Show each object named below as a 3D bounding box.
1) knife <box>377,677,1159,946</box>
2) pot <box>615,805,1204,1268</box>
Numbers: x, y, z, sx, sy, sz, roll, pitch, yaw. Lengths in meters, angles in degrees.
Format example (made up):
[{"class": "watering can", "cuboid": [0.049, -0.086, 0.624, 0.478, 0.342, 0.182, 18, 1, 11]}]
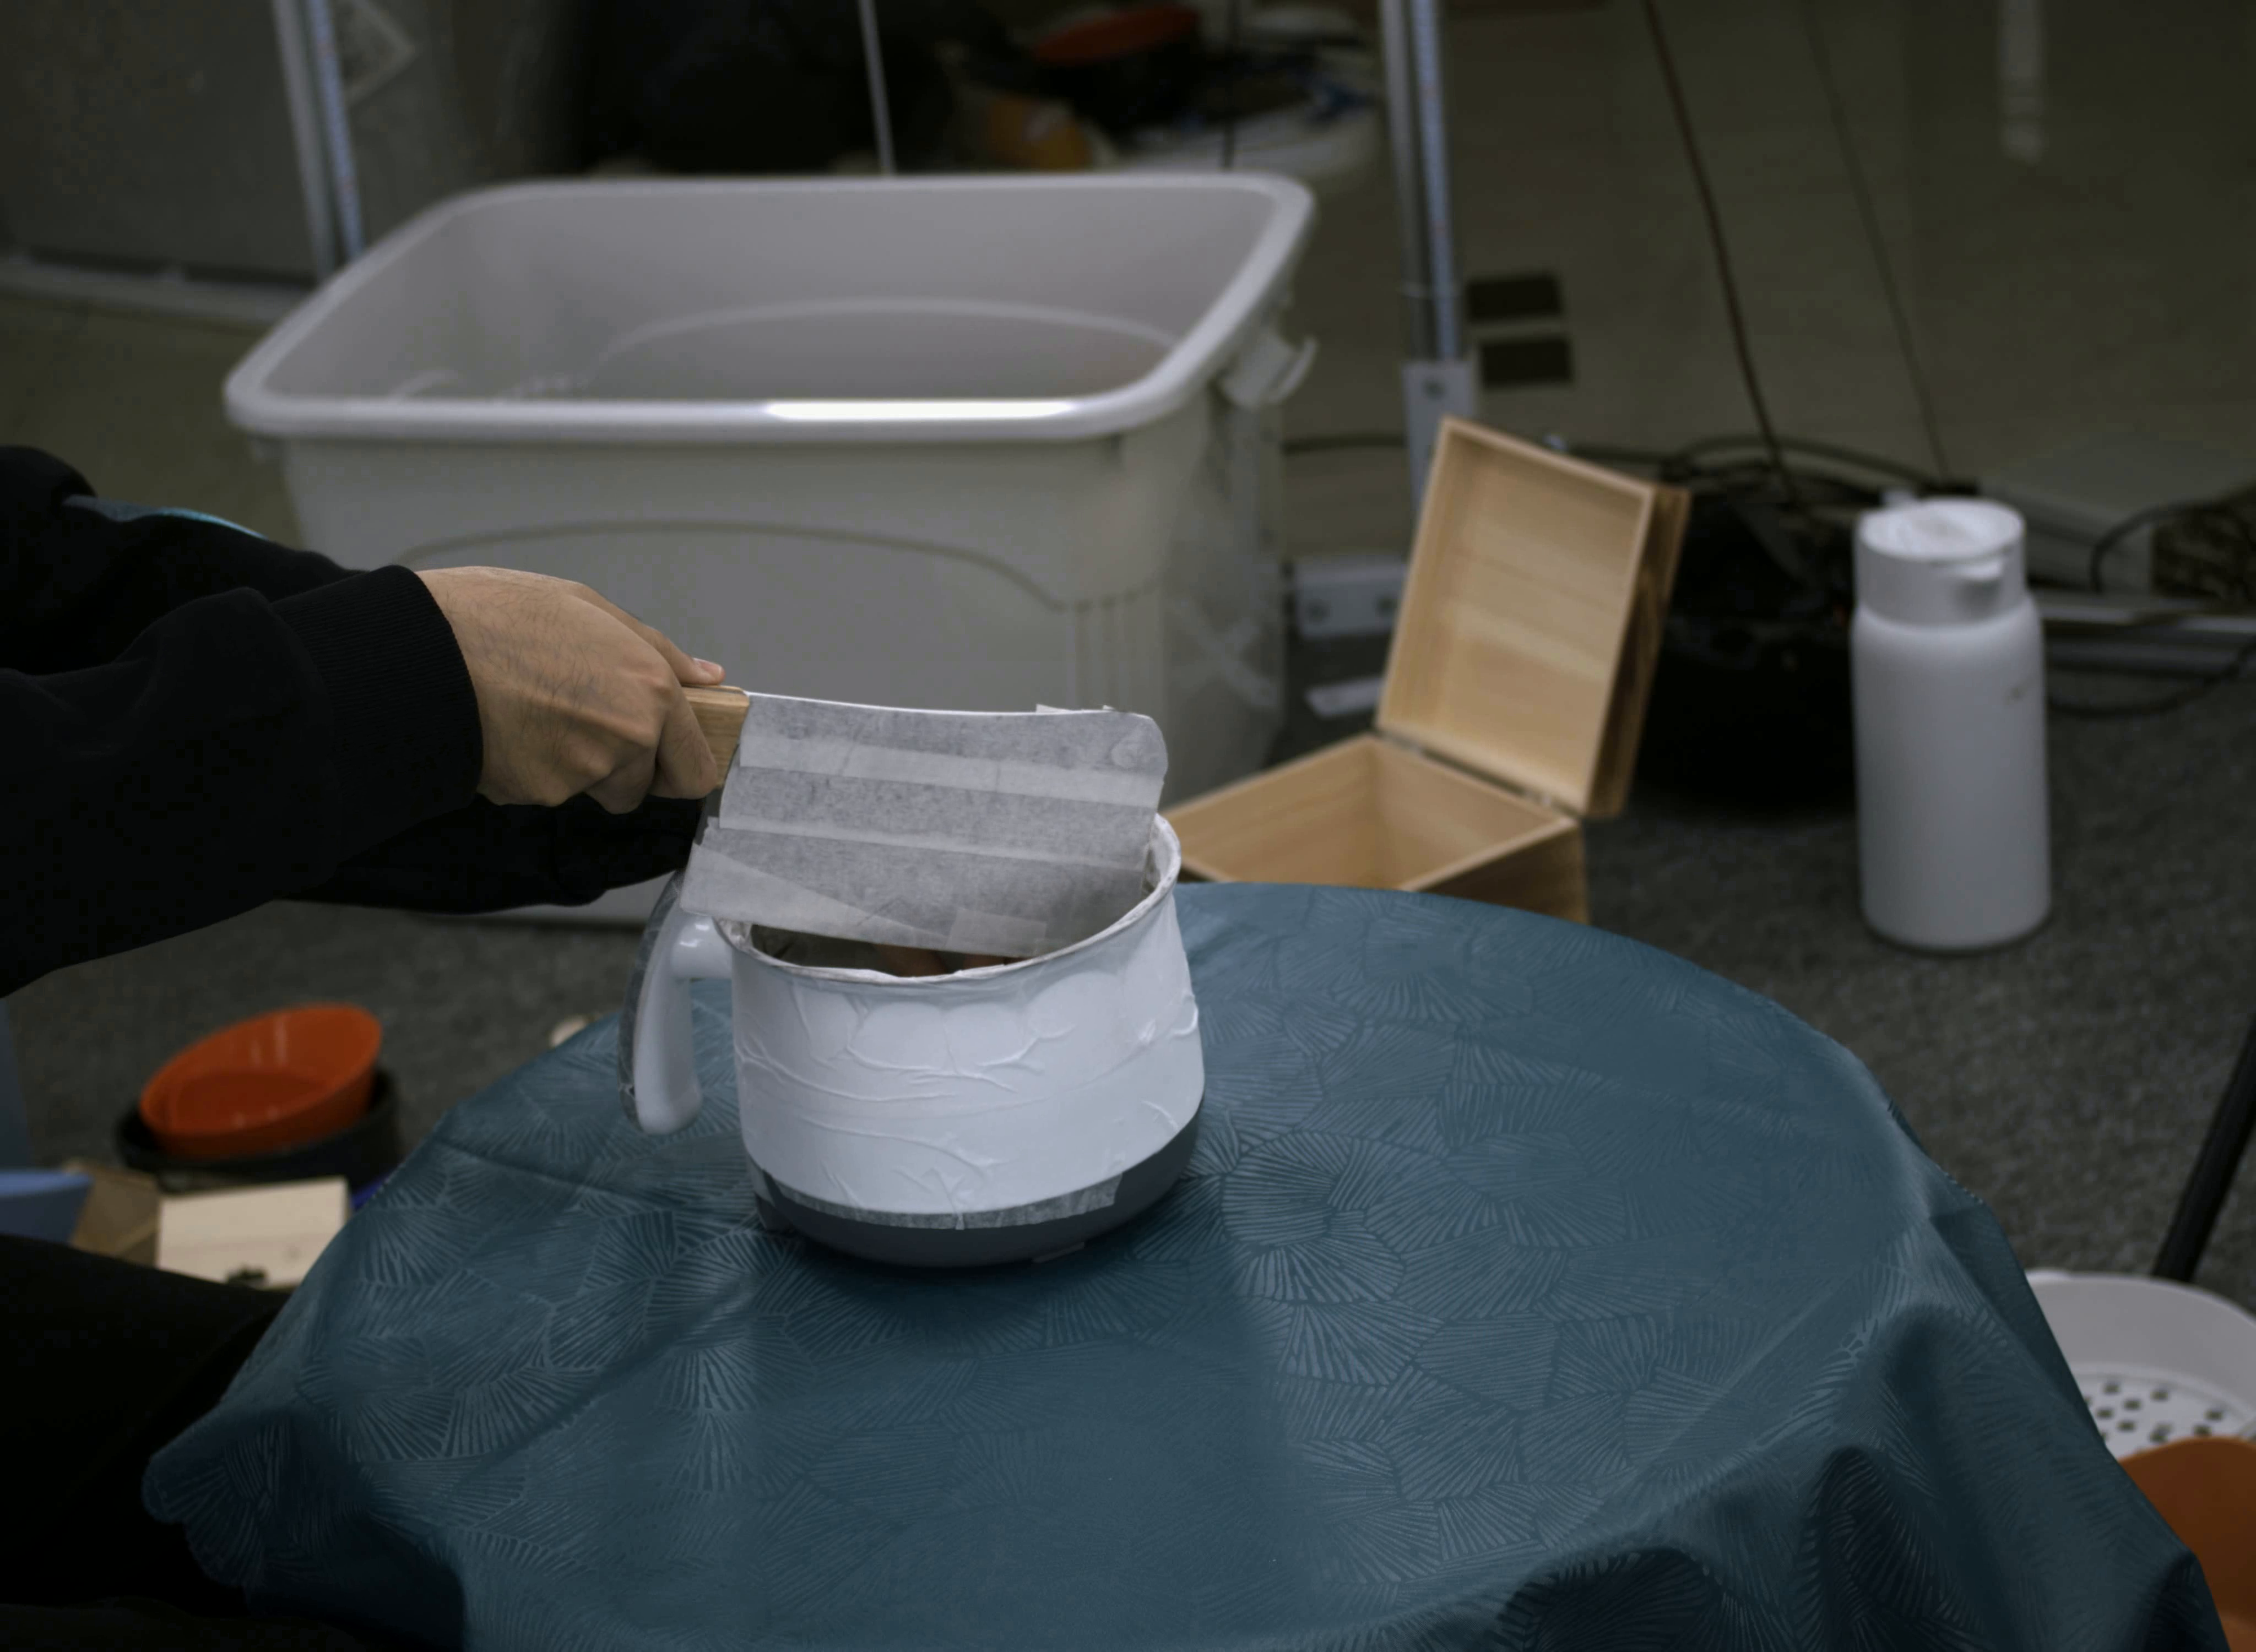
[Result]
[{"class": "knife", "cuboid": [-0.124, -0.015, 2.056, 0.316, 0.115, 0.021, 10, 16, -28]}, {"class": "pot", "cuboid": [-0.088, 0.074, 2.143, 0.233, 0.139, 0.176, 3, 26, 18]}]
